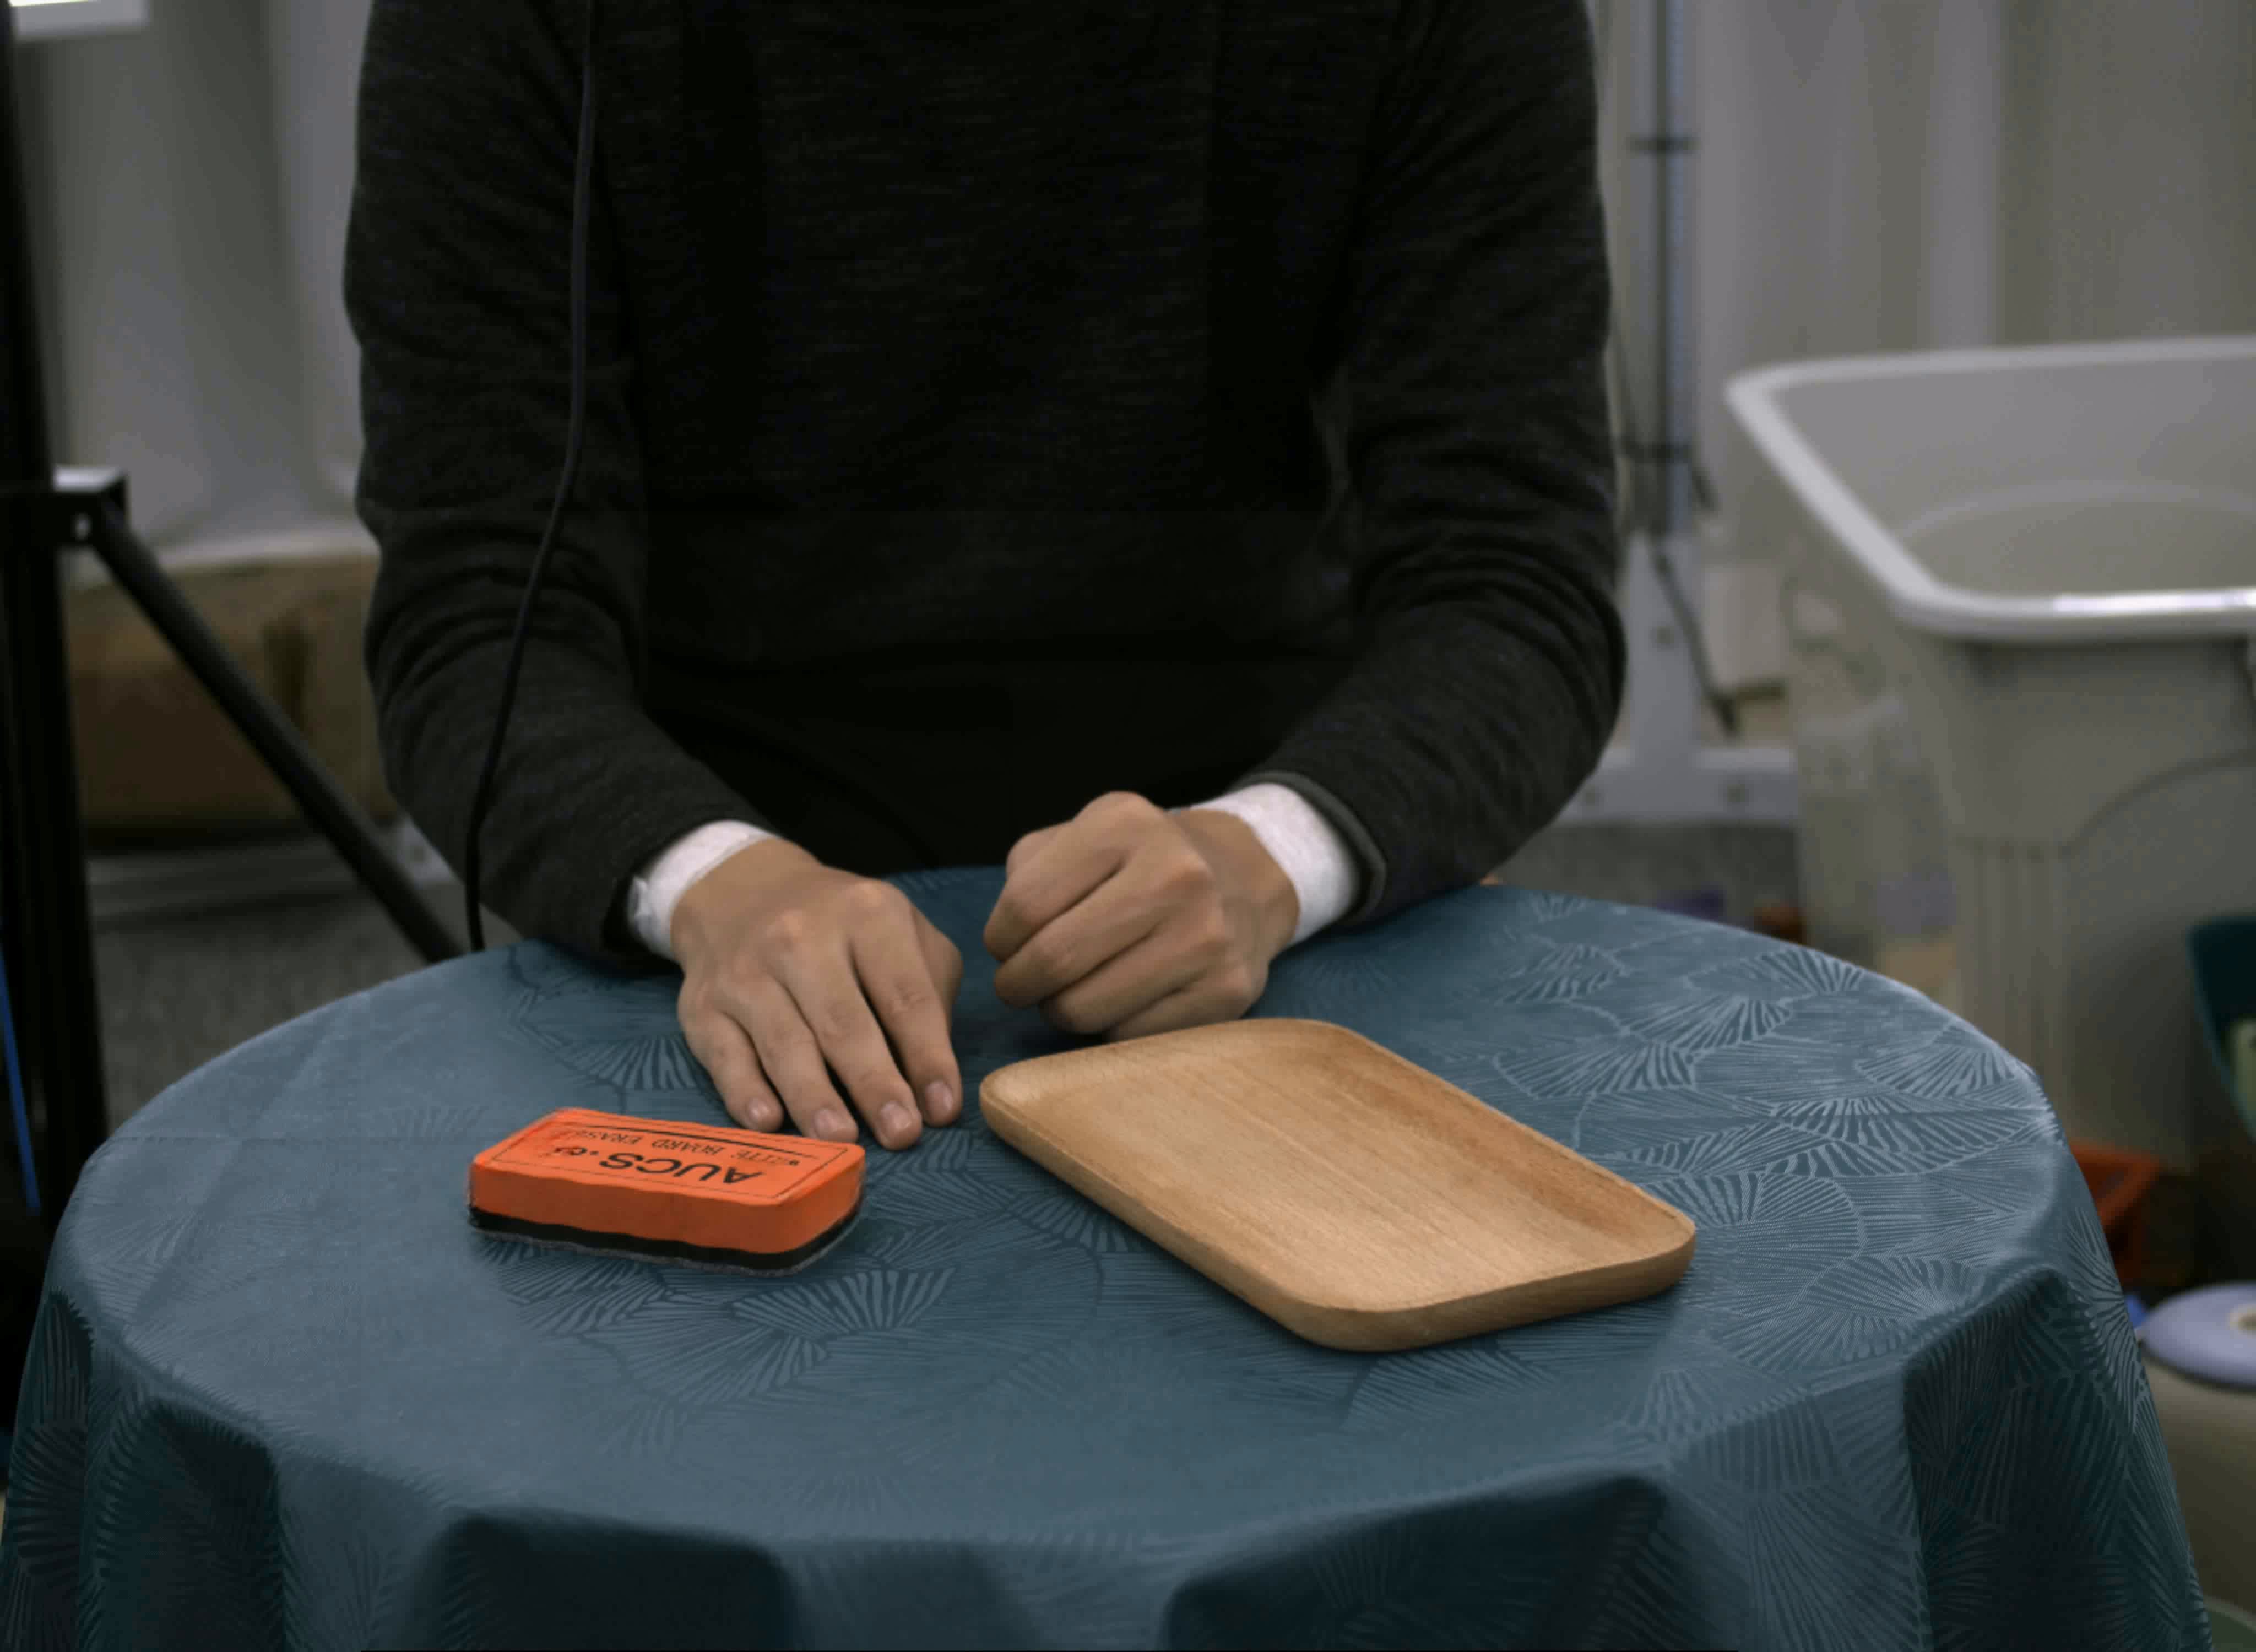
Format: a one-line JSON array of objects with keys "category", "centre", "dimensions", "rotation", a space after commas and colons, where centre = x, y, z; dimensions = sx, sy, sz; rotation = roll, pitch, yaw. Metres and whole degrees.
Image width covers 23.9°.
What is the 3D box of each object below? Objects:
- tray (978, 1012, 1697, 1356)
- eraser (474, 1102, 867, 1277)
[{"category": "tray", "centre": [0.056, 0.101, 1.540], "dimensions": [0.128, 0.023, 0.255], "rotation": [-7, 16, -23]}, {"category": "eraser", "centre": [-0.132, 0.105, 1.545], "dimensions": [0.110, 0.023, 0.058], "rotation": [6, 19, 28]}]
